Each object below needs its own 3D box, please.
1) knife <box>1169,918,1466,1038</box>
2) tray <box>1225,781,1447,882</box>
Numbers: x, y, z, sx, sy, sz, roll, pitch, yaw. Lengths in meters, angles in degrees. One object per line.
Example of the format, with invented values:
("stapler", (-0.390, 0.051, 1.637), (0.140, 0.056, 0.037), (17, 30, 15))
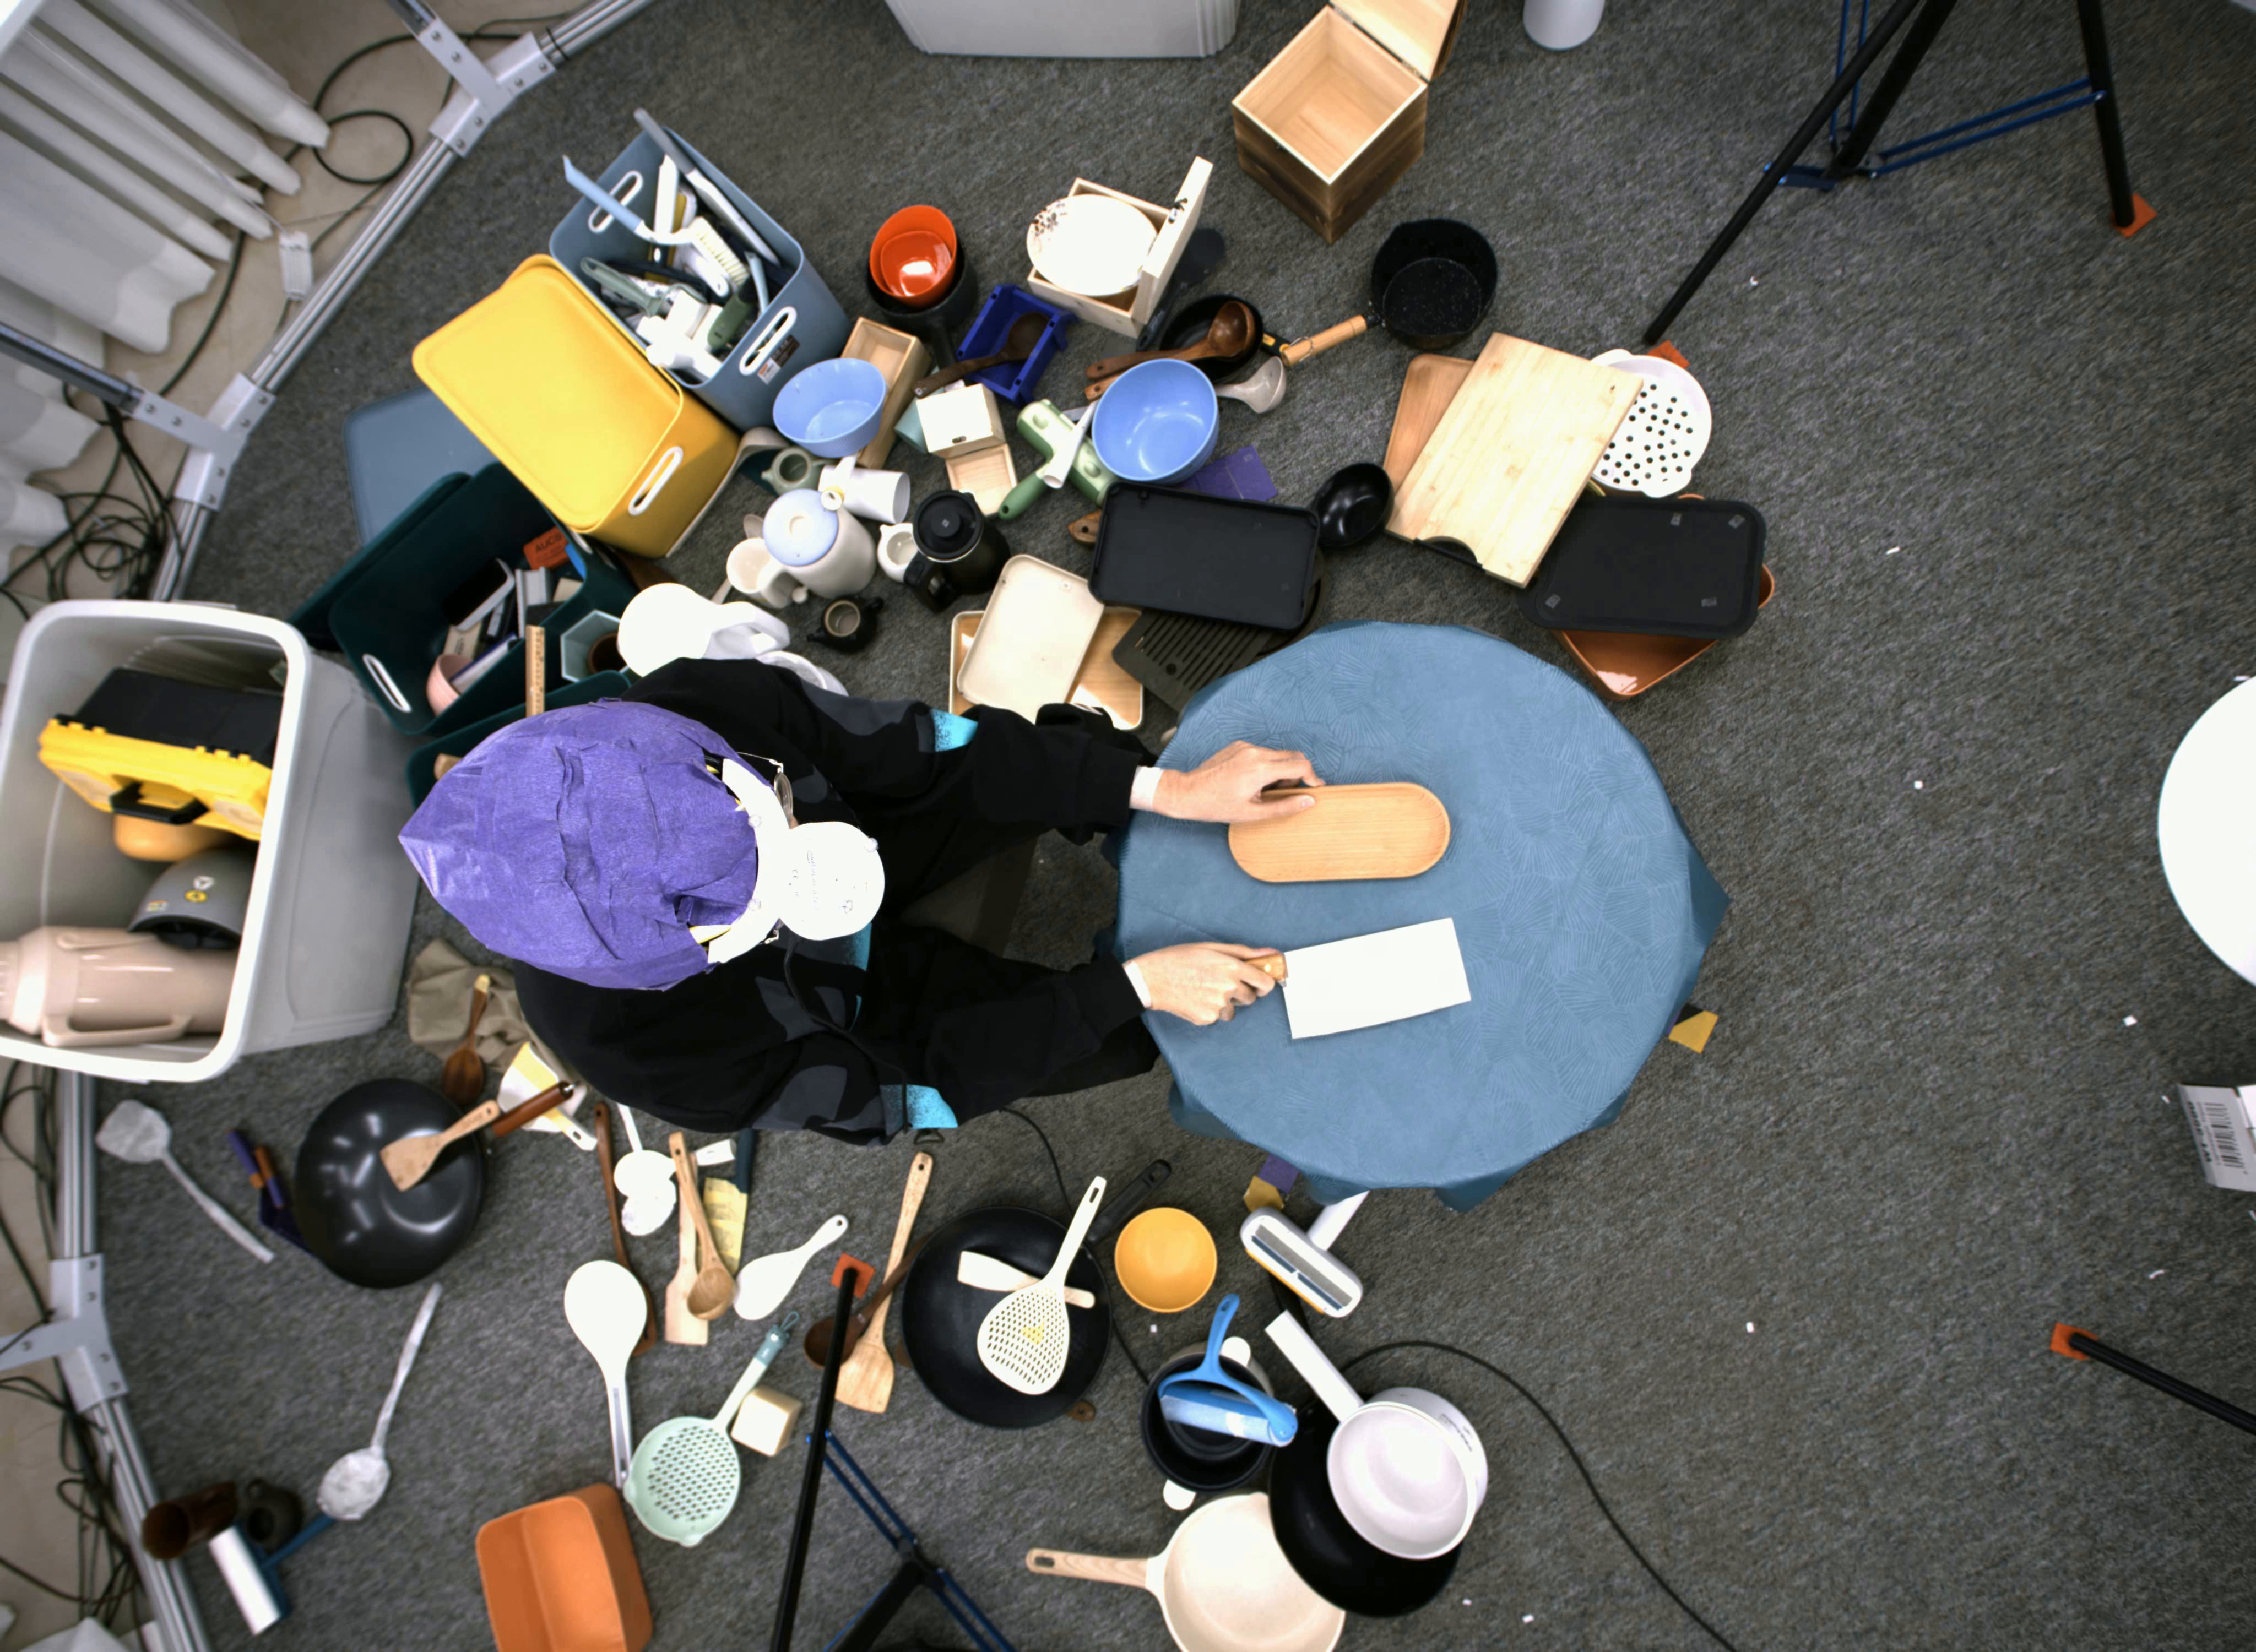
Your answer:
("knife", (0.200, 0.169, 1.449), (0.306, 0.021, 0.092), (-13, 85, 3))
("tray", (0.217, 0.005, 1.452), (0.232, 0.020, 0.103), (-3, 103, 11))
